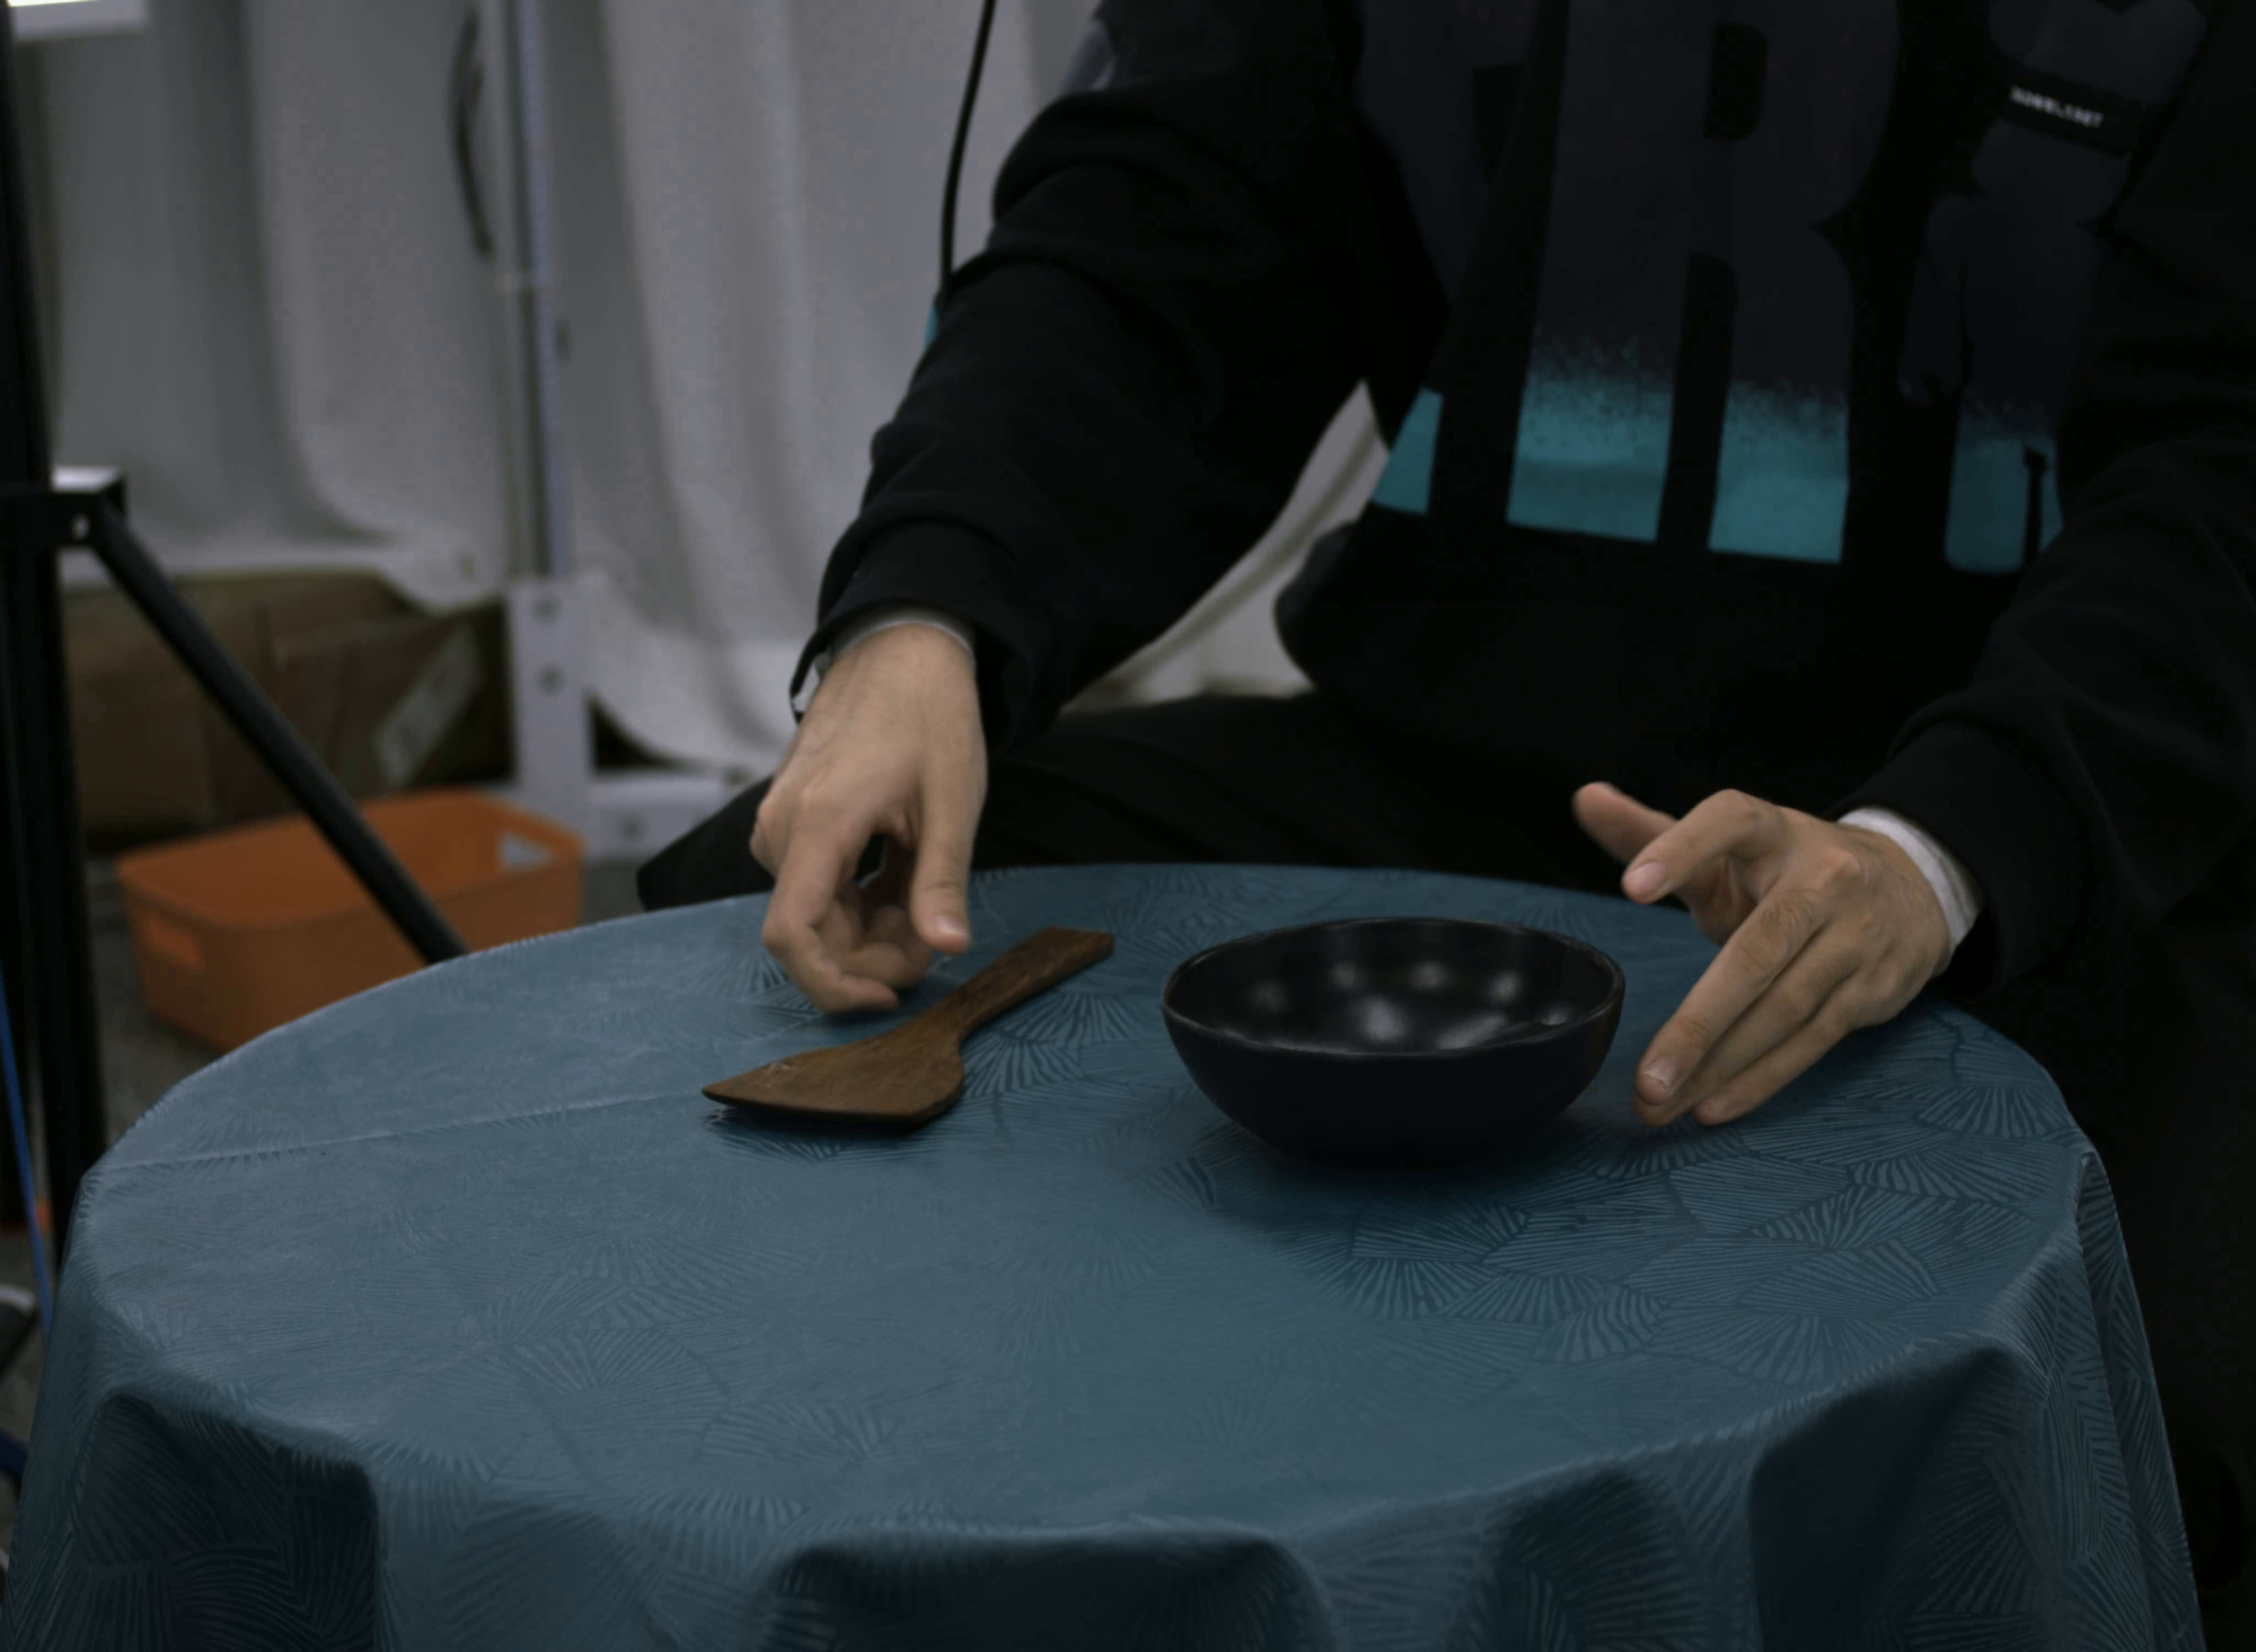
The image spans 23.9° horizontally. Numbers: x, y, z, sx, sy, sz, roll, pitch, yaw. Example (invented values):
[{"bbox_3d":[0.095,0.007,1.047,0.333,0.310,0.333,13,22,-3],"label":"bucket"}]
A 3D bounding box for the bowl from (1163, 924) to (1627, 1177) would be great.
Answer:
[{"bbox_3d":[0.081,0.071,1.587,0.139,0.050,0.140,-5,14,0],"label":"bowl"}]

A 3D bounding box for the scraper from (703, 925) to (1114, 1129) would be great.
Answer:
[{"bbox_3d":[-0.058,0.063,1.710,0.077,0.011,0.208,7,18,25],"label":"scraper"}]
